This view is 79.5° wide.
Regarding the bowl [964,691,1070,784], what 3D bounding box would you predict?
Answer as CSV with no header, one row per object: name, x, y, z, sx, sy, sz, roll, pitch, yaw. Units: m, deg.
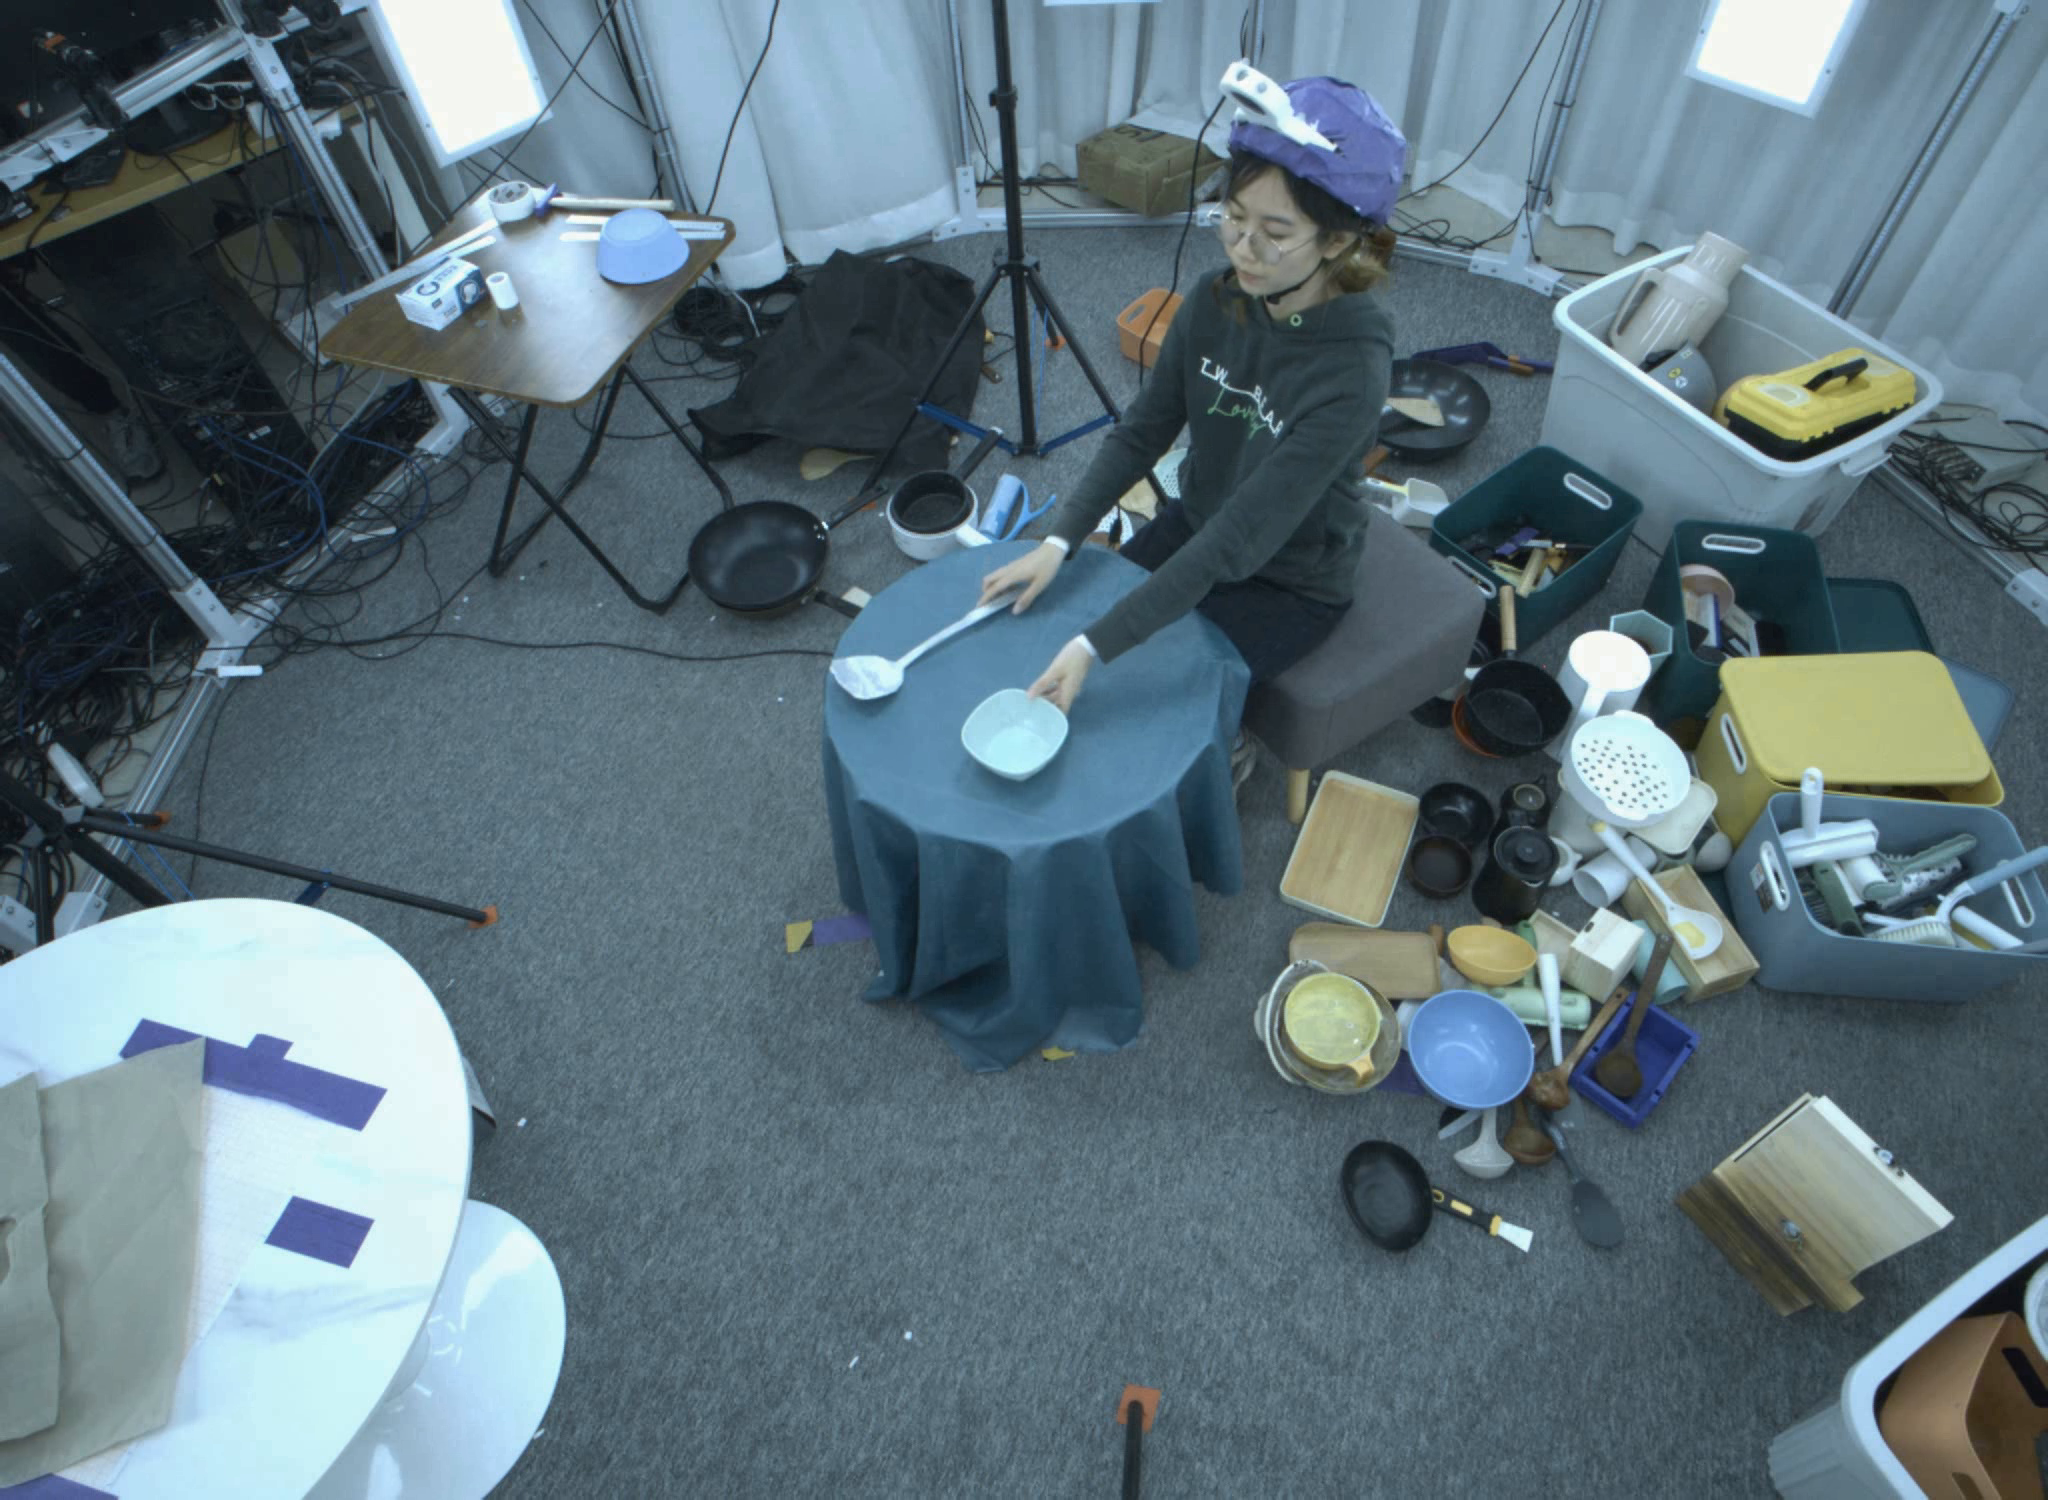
bowl,-0.009,-0.007,1.769,0.151,0.059,0.150,0,58,0

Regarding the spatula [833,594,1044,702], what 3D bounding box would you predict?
spatula,-0.124,-0.172,1.899,0.368,0.045,0.097,-32,58,-19
